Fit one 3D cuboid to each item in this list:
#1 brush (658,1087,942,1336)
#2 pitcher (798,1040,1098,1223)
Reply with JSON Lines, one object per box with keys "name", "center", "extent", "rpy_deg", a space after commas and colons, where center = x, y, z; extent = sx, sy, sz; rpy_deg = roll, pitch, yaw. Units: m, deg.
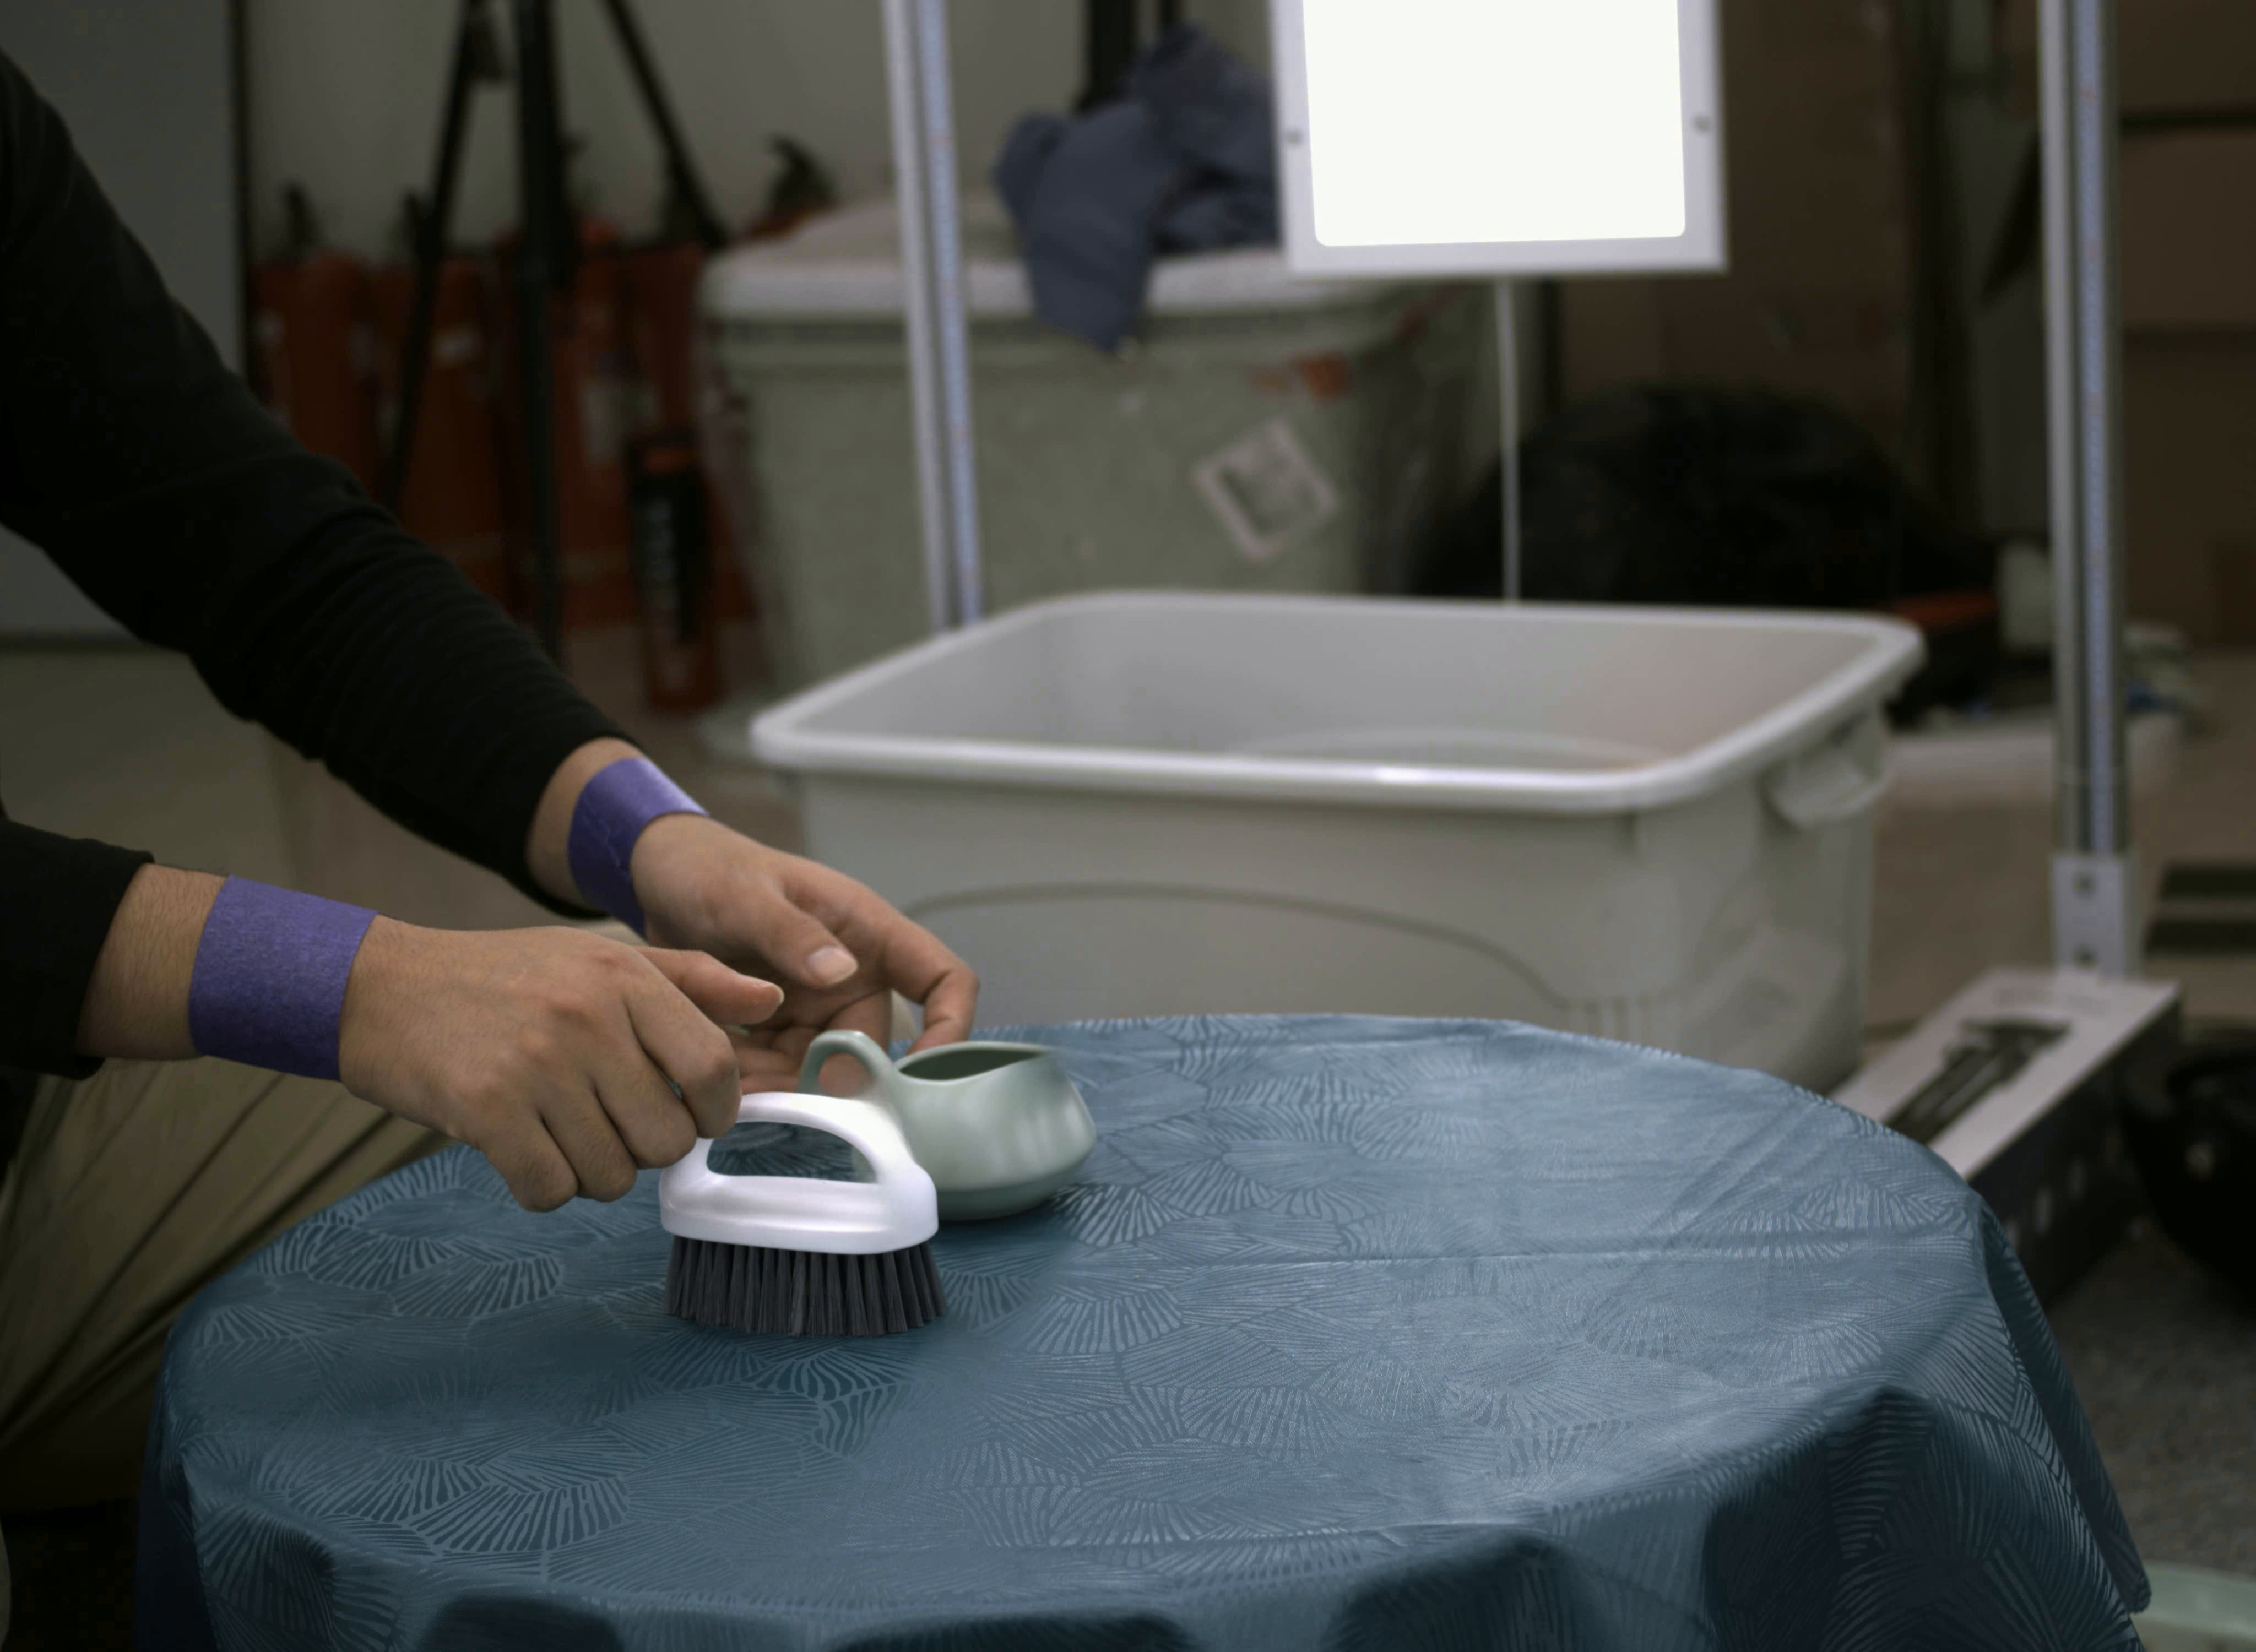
{"name": "brush", "center": [-0.109, 0.122, 1.799], "extent": [0.101, 0.073, 0.049], "rpy_deg": [5, 16, 32]}
{"name": "pitcher", "center": [-0.064, 0.103, 1.901], "extent": [0.109, 0.060, 0.084], "rpy_deg": [-2, 13, 24]}
